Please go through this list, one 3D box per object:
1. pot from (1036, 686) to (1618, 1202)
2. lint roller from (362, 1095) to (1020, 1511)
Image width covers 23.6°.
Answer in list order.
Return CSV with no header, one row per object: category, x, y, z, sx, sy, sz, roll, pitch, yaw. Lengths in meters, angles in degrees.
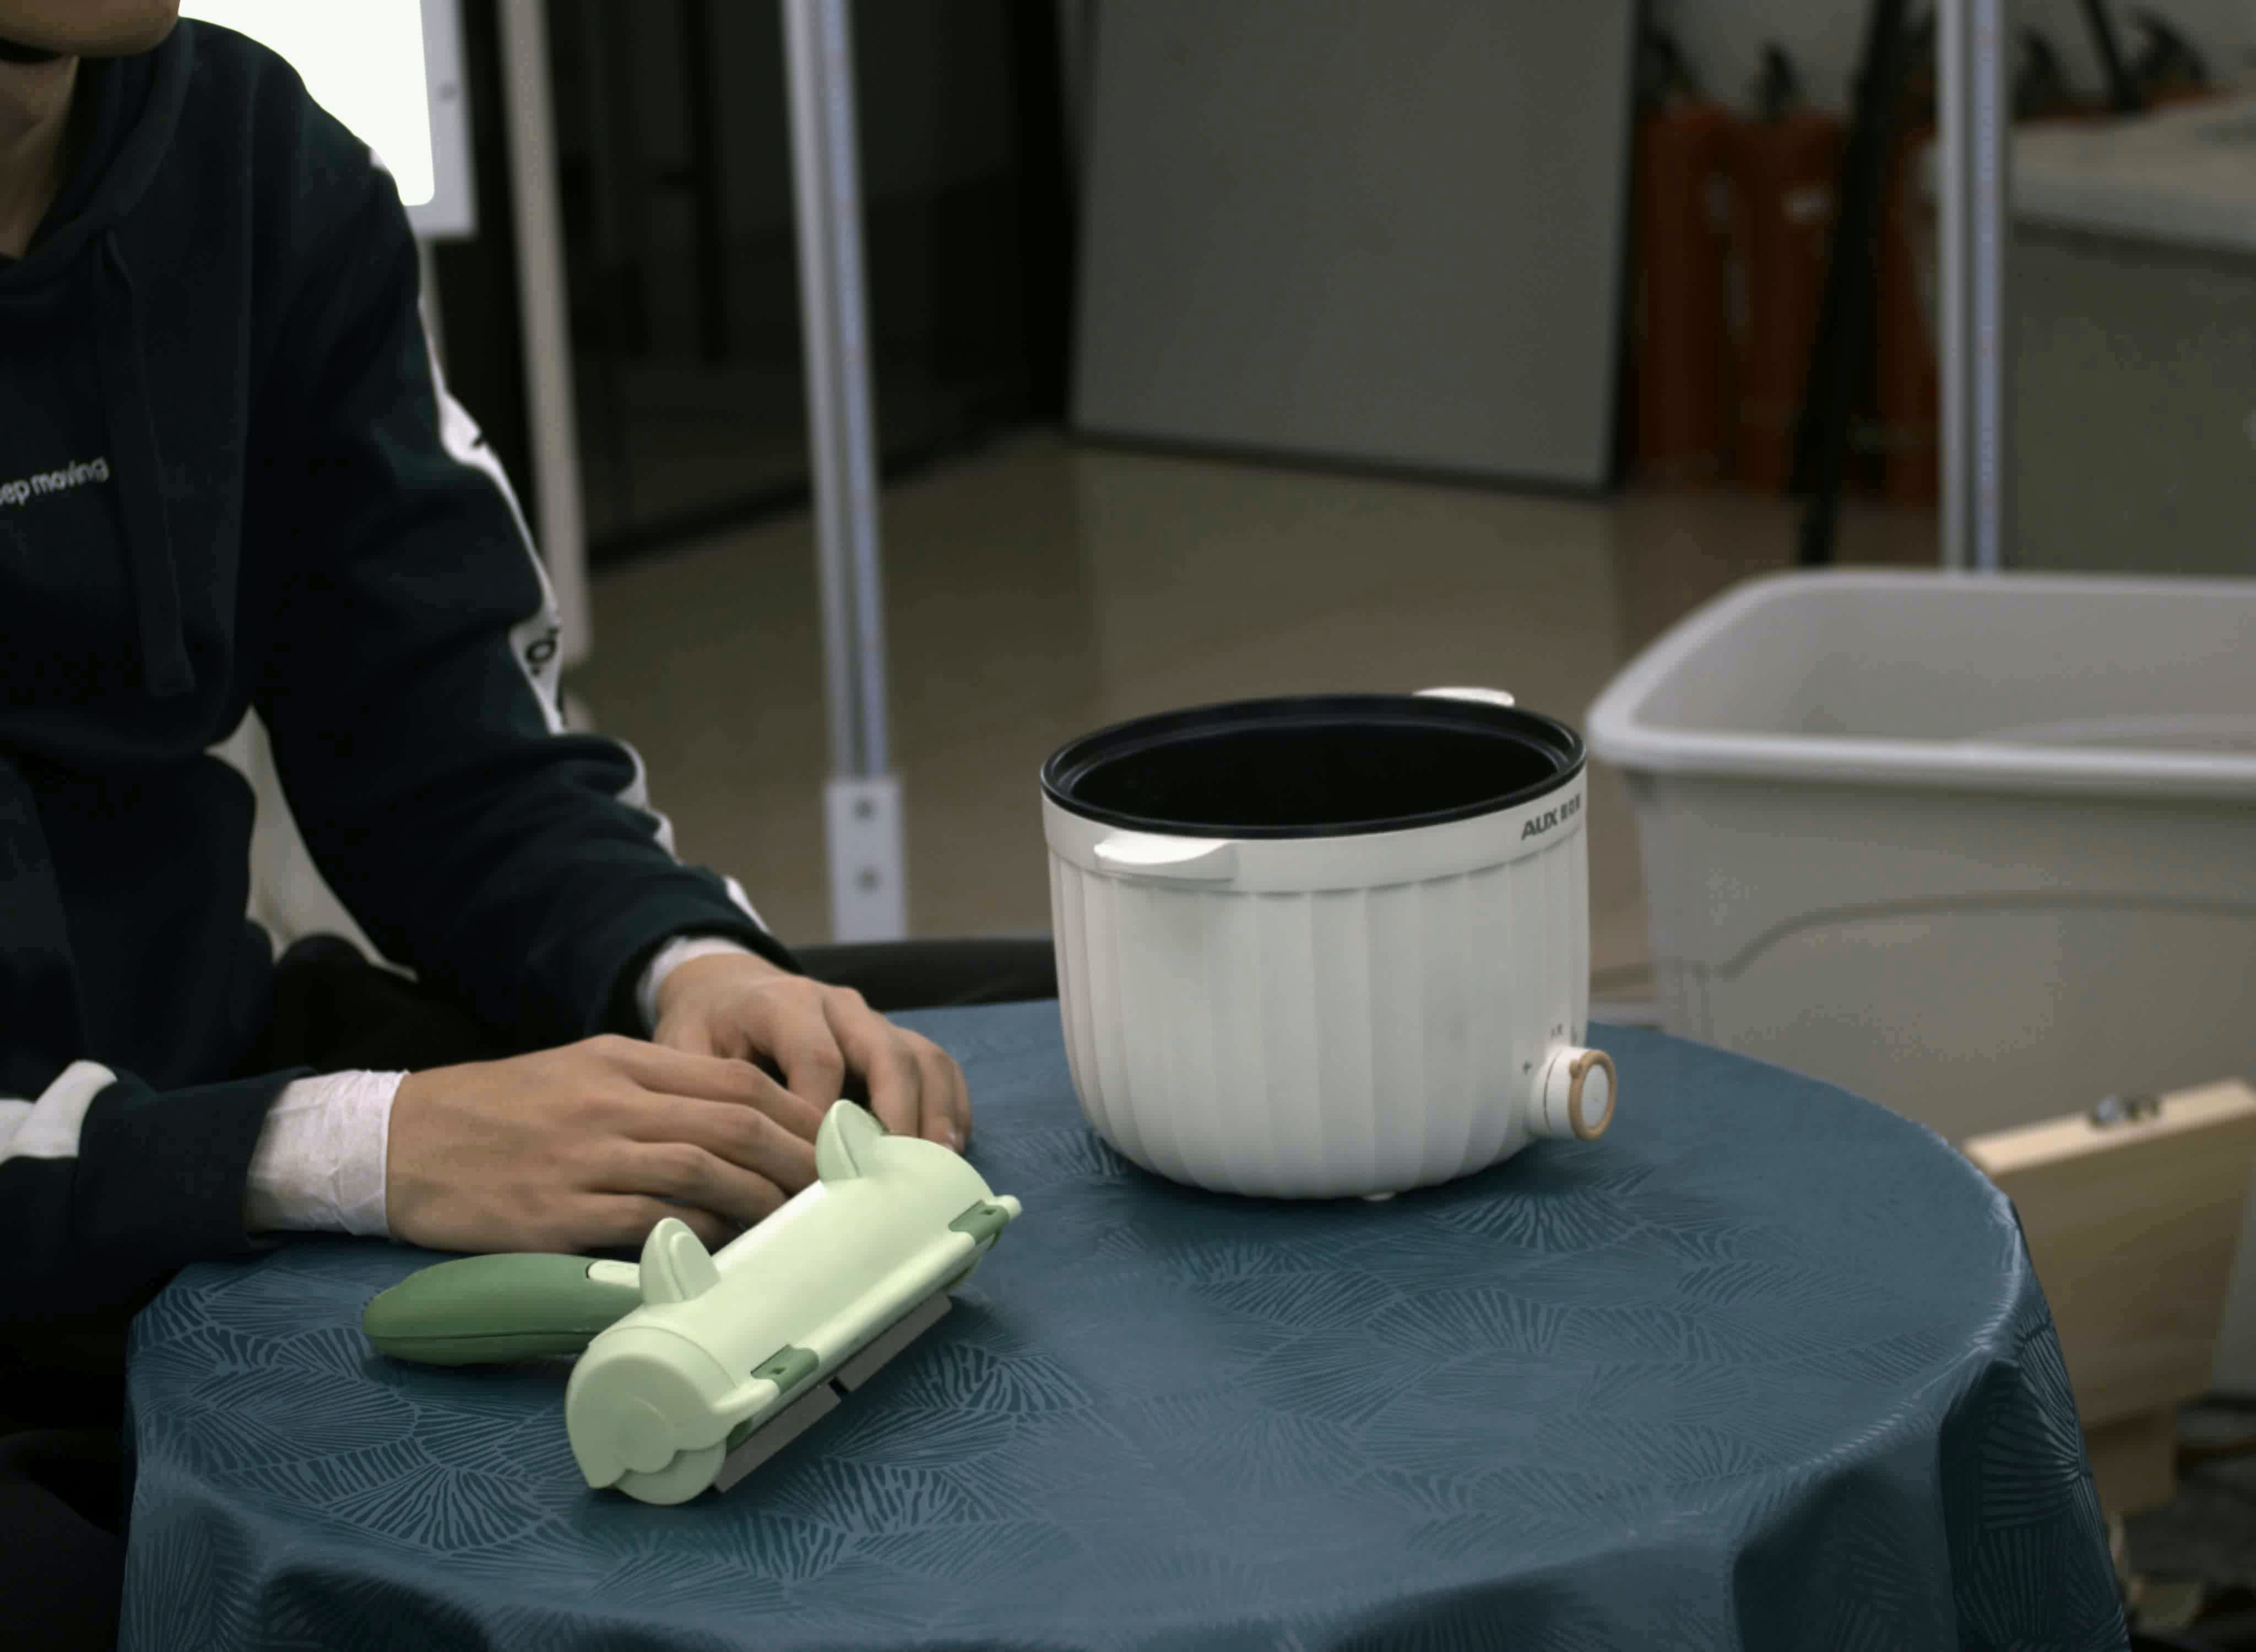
pot,0.069,0.042,1.784,0.191,0.144,0.236,1,15,33
lint roller,-0.150,0.131,1.619,0.183,0.083,0.196,7,17,23
